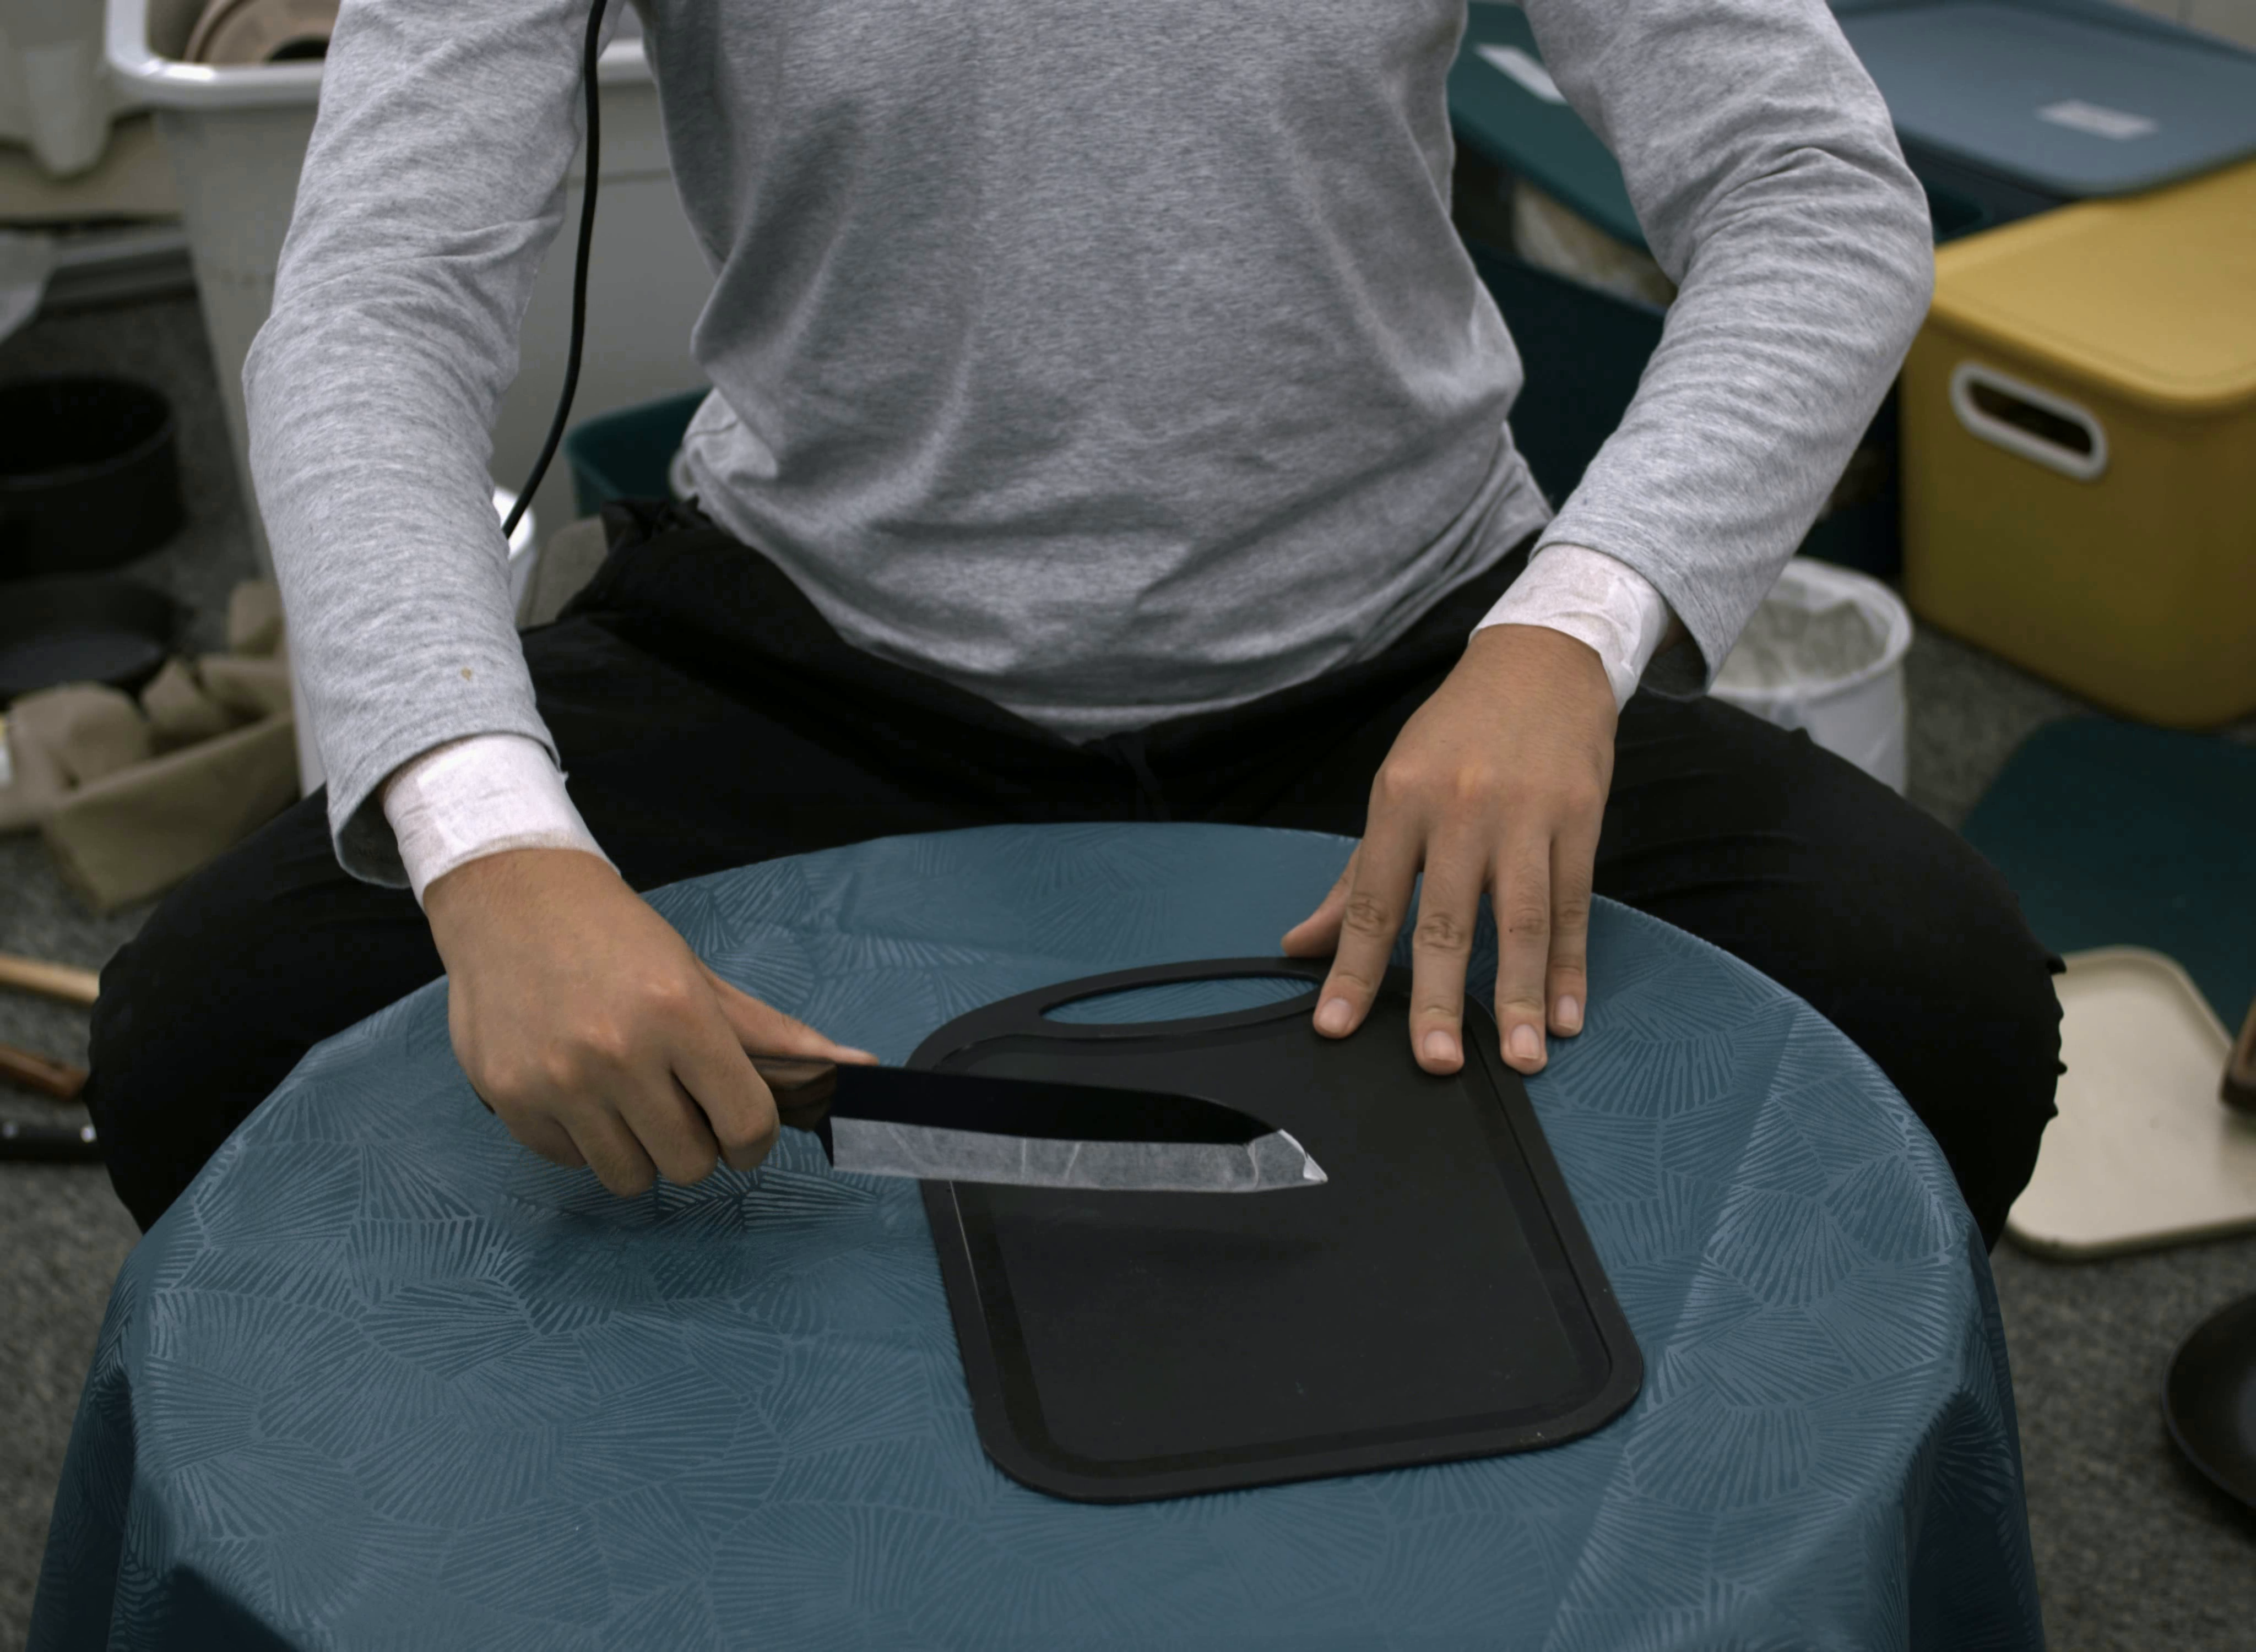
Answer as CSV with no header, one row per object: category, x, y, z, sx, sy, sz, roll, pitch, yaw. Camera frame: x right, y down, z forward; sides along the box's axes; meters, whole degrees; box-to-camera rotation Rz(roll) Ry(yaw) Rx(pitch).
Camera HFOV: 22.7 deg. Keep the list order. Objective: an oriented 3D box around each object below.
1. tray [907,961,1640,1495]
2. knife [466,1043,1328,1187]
tray,0.039,0.123,1.849,0.210,0.009,0.329,-6,27,-6
knife,-0.077,0.097,1.844,0.287,0.049,0.020,5,40,8
